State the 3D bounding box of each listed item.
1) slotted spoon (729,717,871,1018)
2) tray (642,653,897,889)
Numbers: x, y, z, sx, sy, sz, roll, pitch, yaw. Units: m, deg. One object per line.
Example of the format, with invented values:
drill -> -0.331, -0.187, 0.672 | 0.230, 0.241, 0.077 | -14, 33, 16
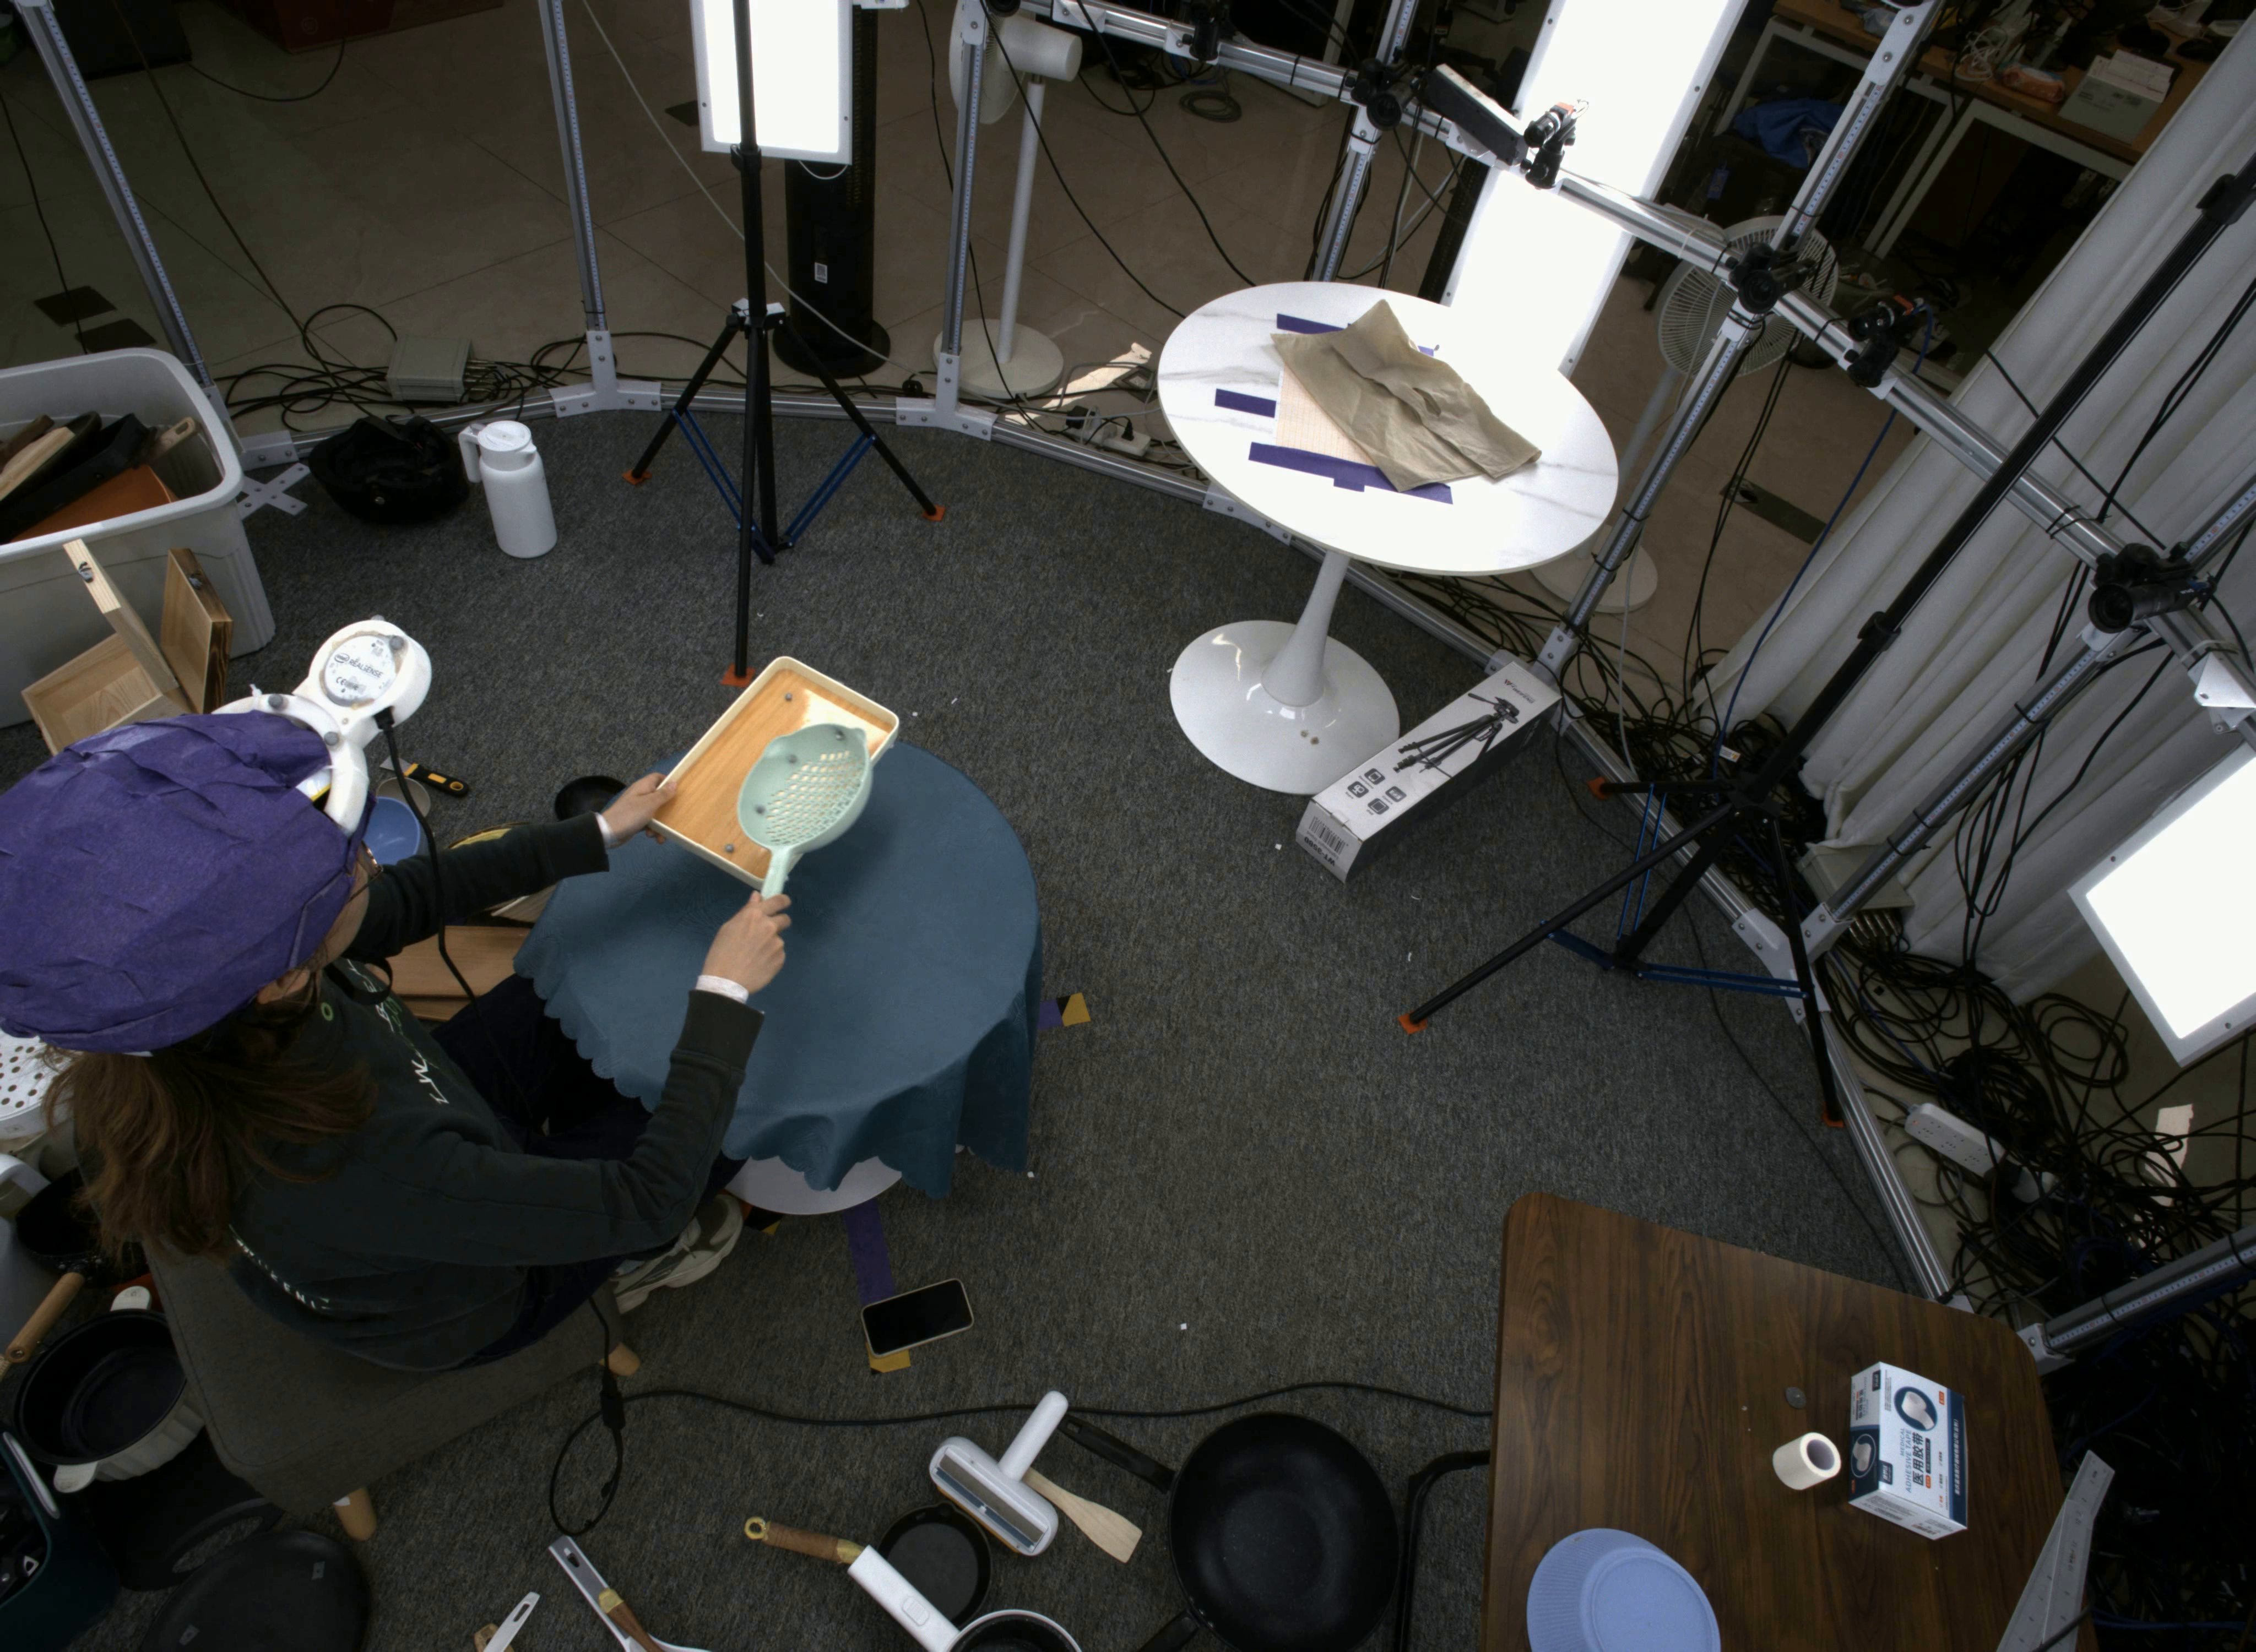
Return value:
slotted spoon -> -0.376, 0.035, 1.408 | 0.165, 0.078, 0.354 | -5, 48, 23
tray -> -0.441, -0.076, 1.609 | 0.190, 0.028, 0.299 | 29, 56, 3
